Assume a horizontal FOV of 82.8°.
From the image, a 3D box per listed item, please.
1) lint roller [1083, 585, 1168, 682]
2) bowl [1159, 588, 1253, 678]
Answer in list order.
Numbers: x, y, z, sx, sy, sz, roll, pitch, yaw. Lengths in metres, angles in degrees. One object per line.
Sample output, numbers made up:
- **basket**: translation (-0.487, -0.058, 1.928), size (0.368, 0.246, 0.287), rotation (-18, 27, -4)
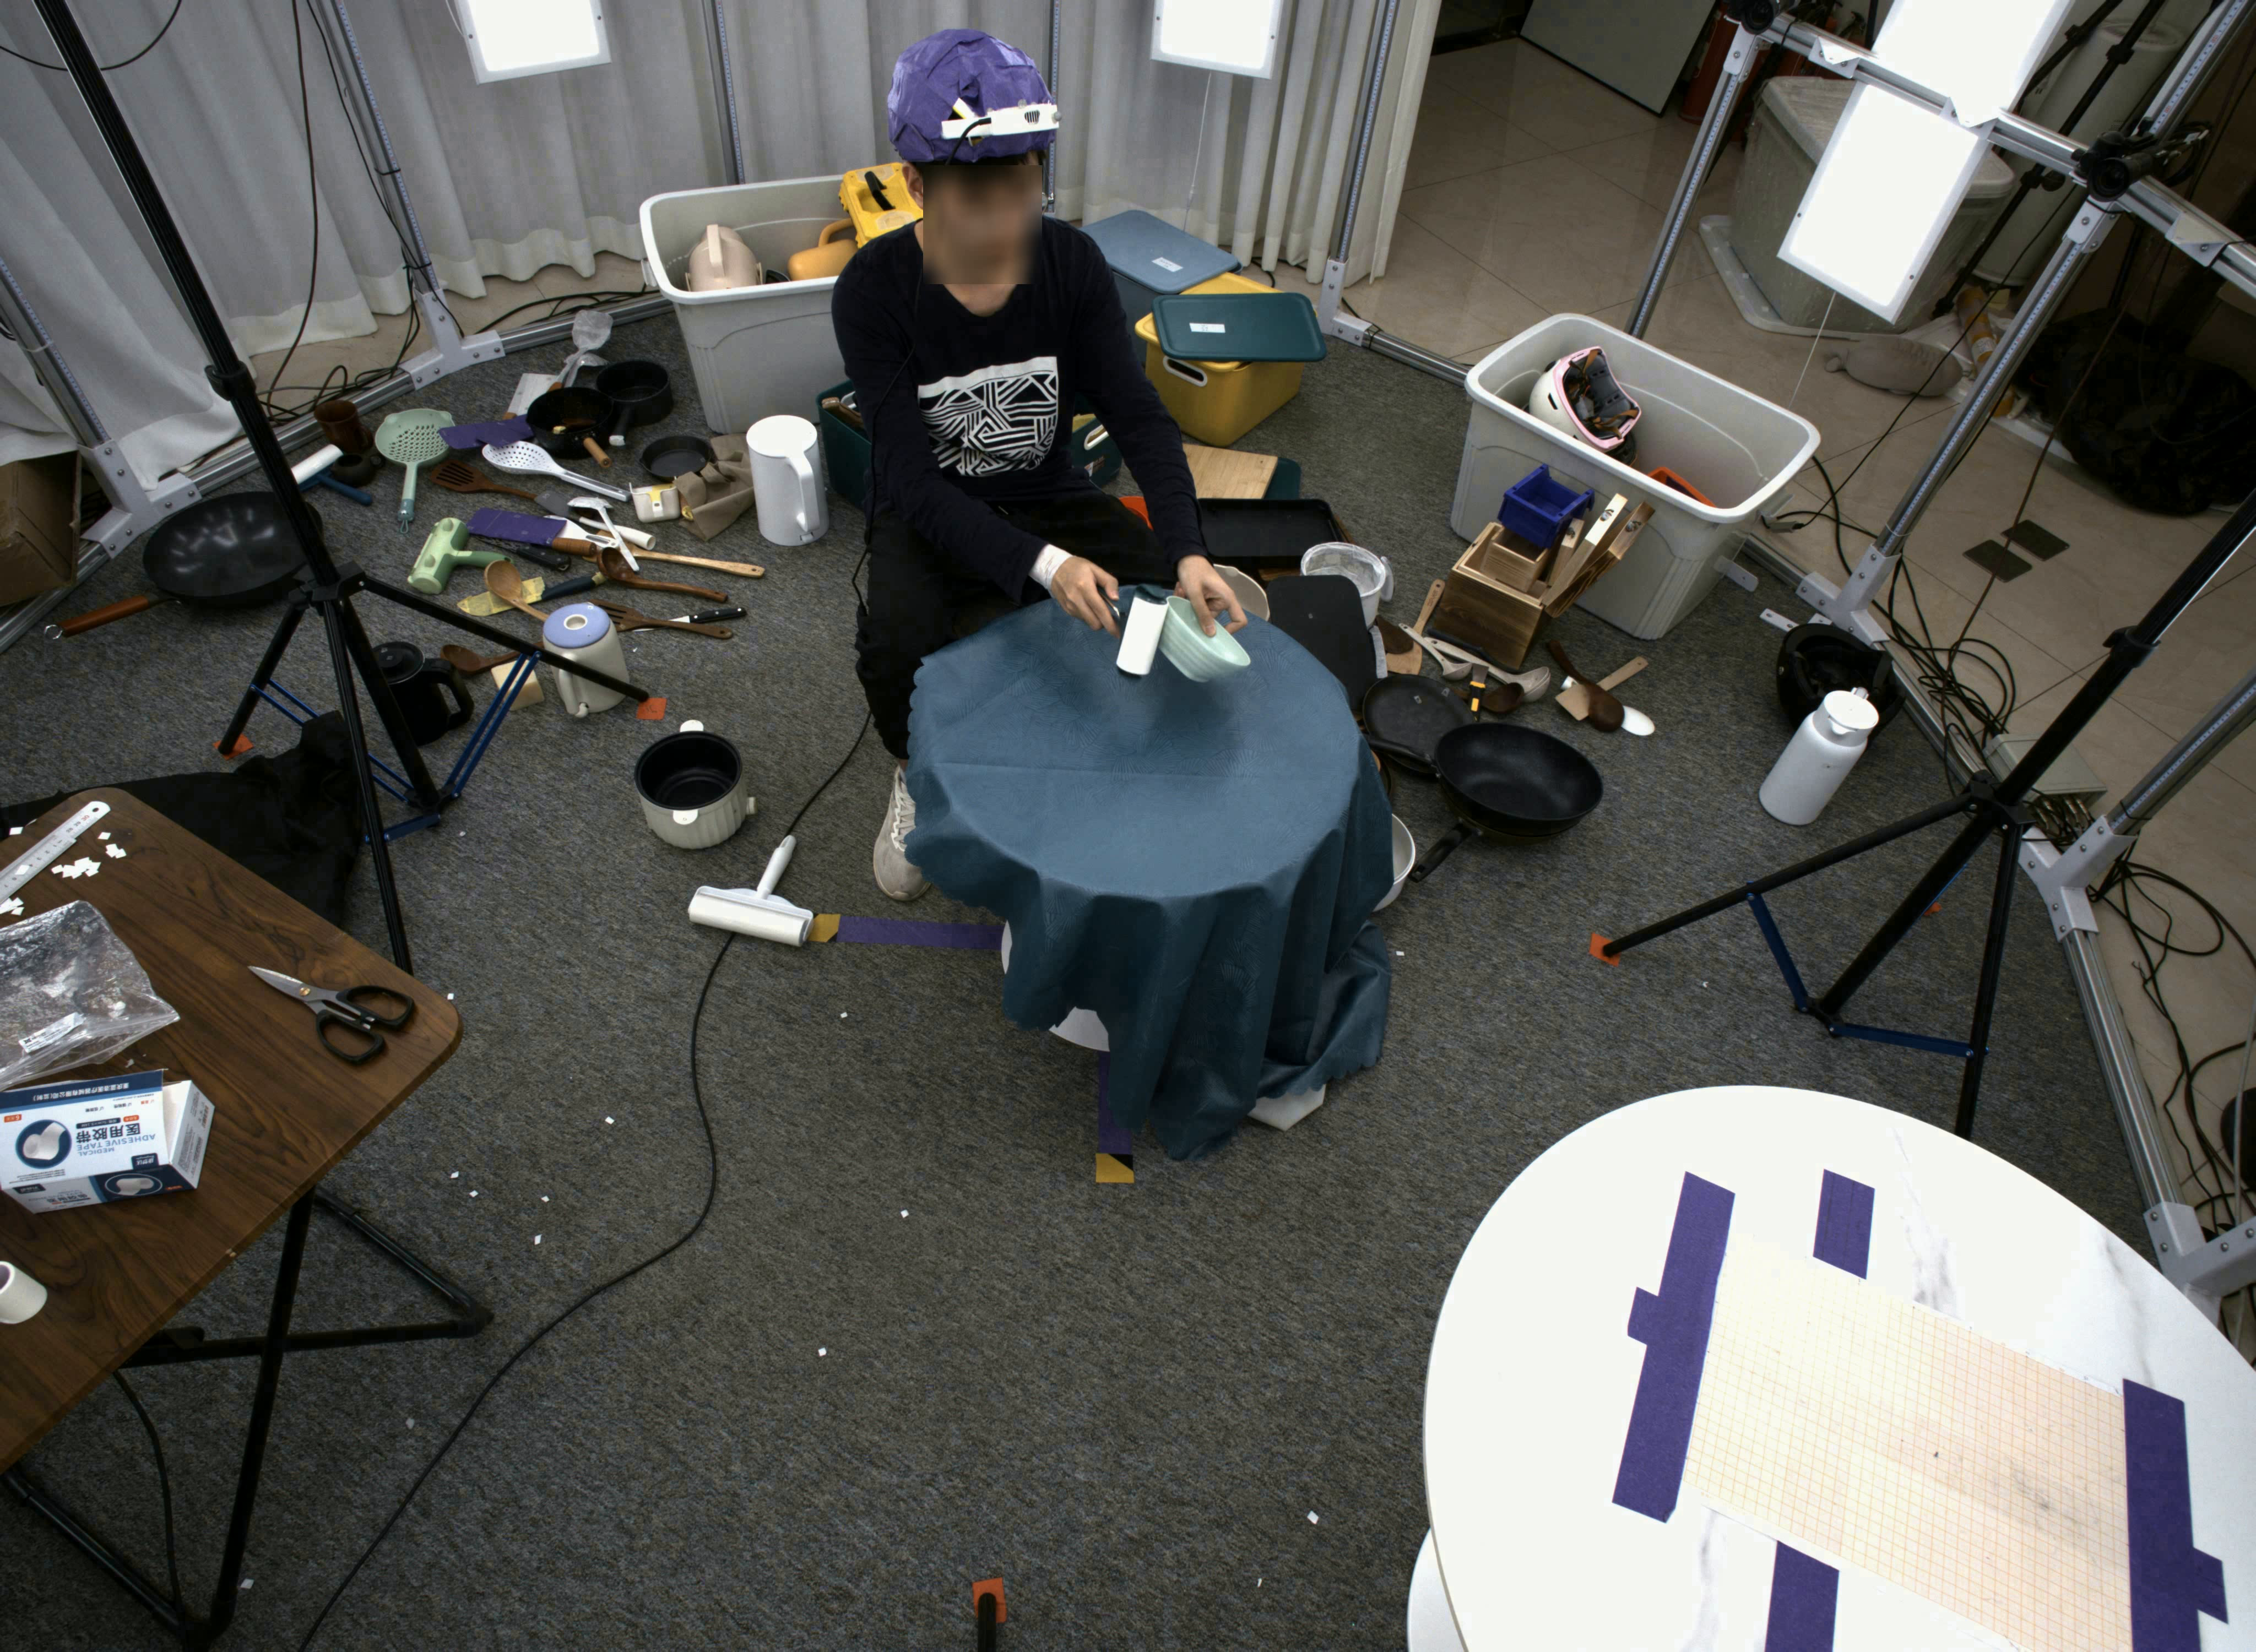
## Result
- **lint roller**: translation (-0.022, -0.288, 1.756), size (0.048, 0.132, 0.183), rotation (-6, 33, -40)
- **bowl**: translation (0.097, -0.253, 1.753), size (0.149, 0.058, 0.155), rotation (31, 35, -26)
